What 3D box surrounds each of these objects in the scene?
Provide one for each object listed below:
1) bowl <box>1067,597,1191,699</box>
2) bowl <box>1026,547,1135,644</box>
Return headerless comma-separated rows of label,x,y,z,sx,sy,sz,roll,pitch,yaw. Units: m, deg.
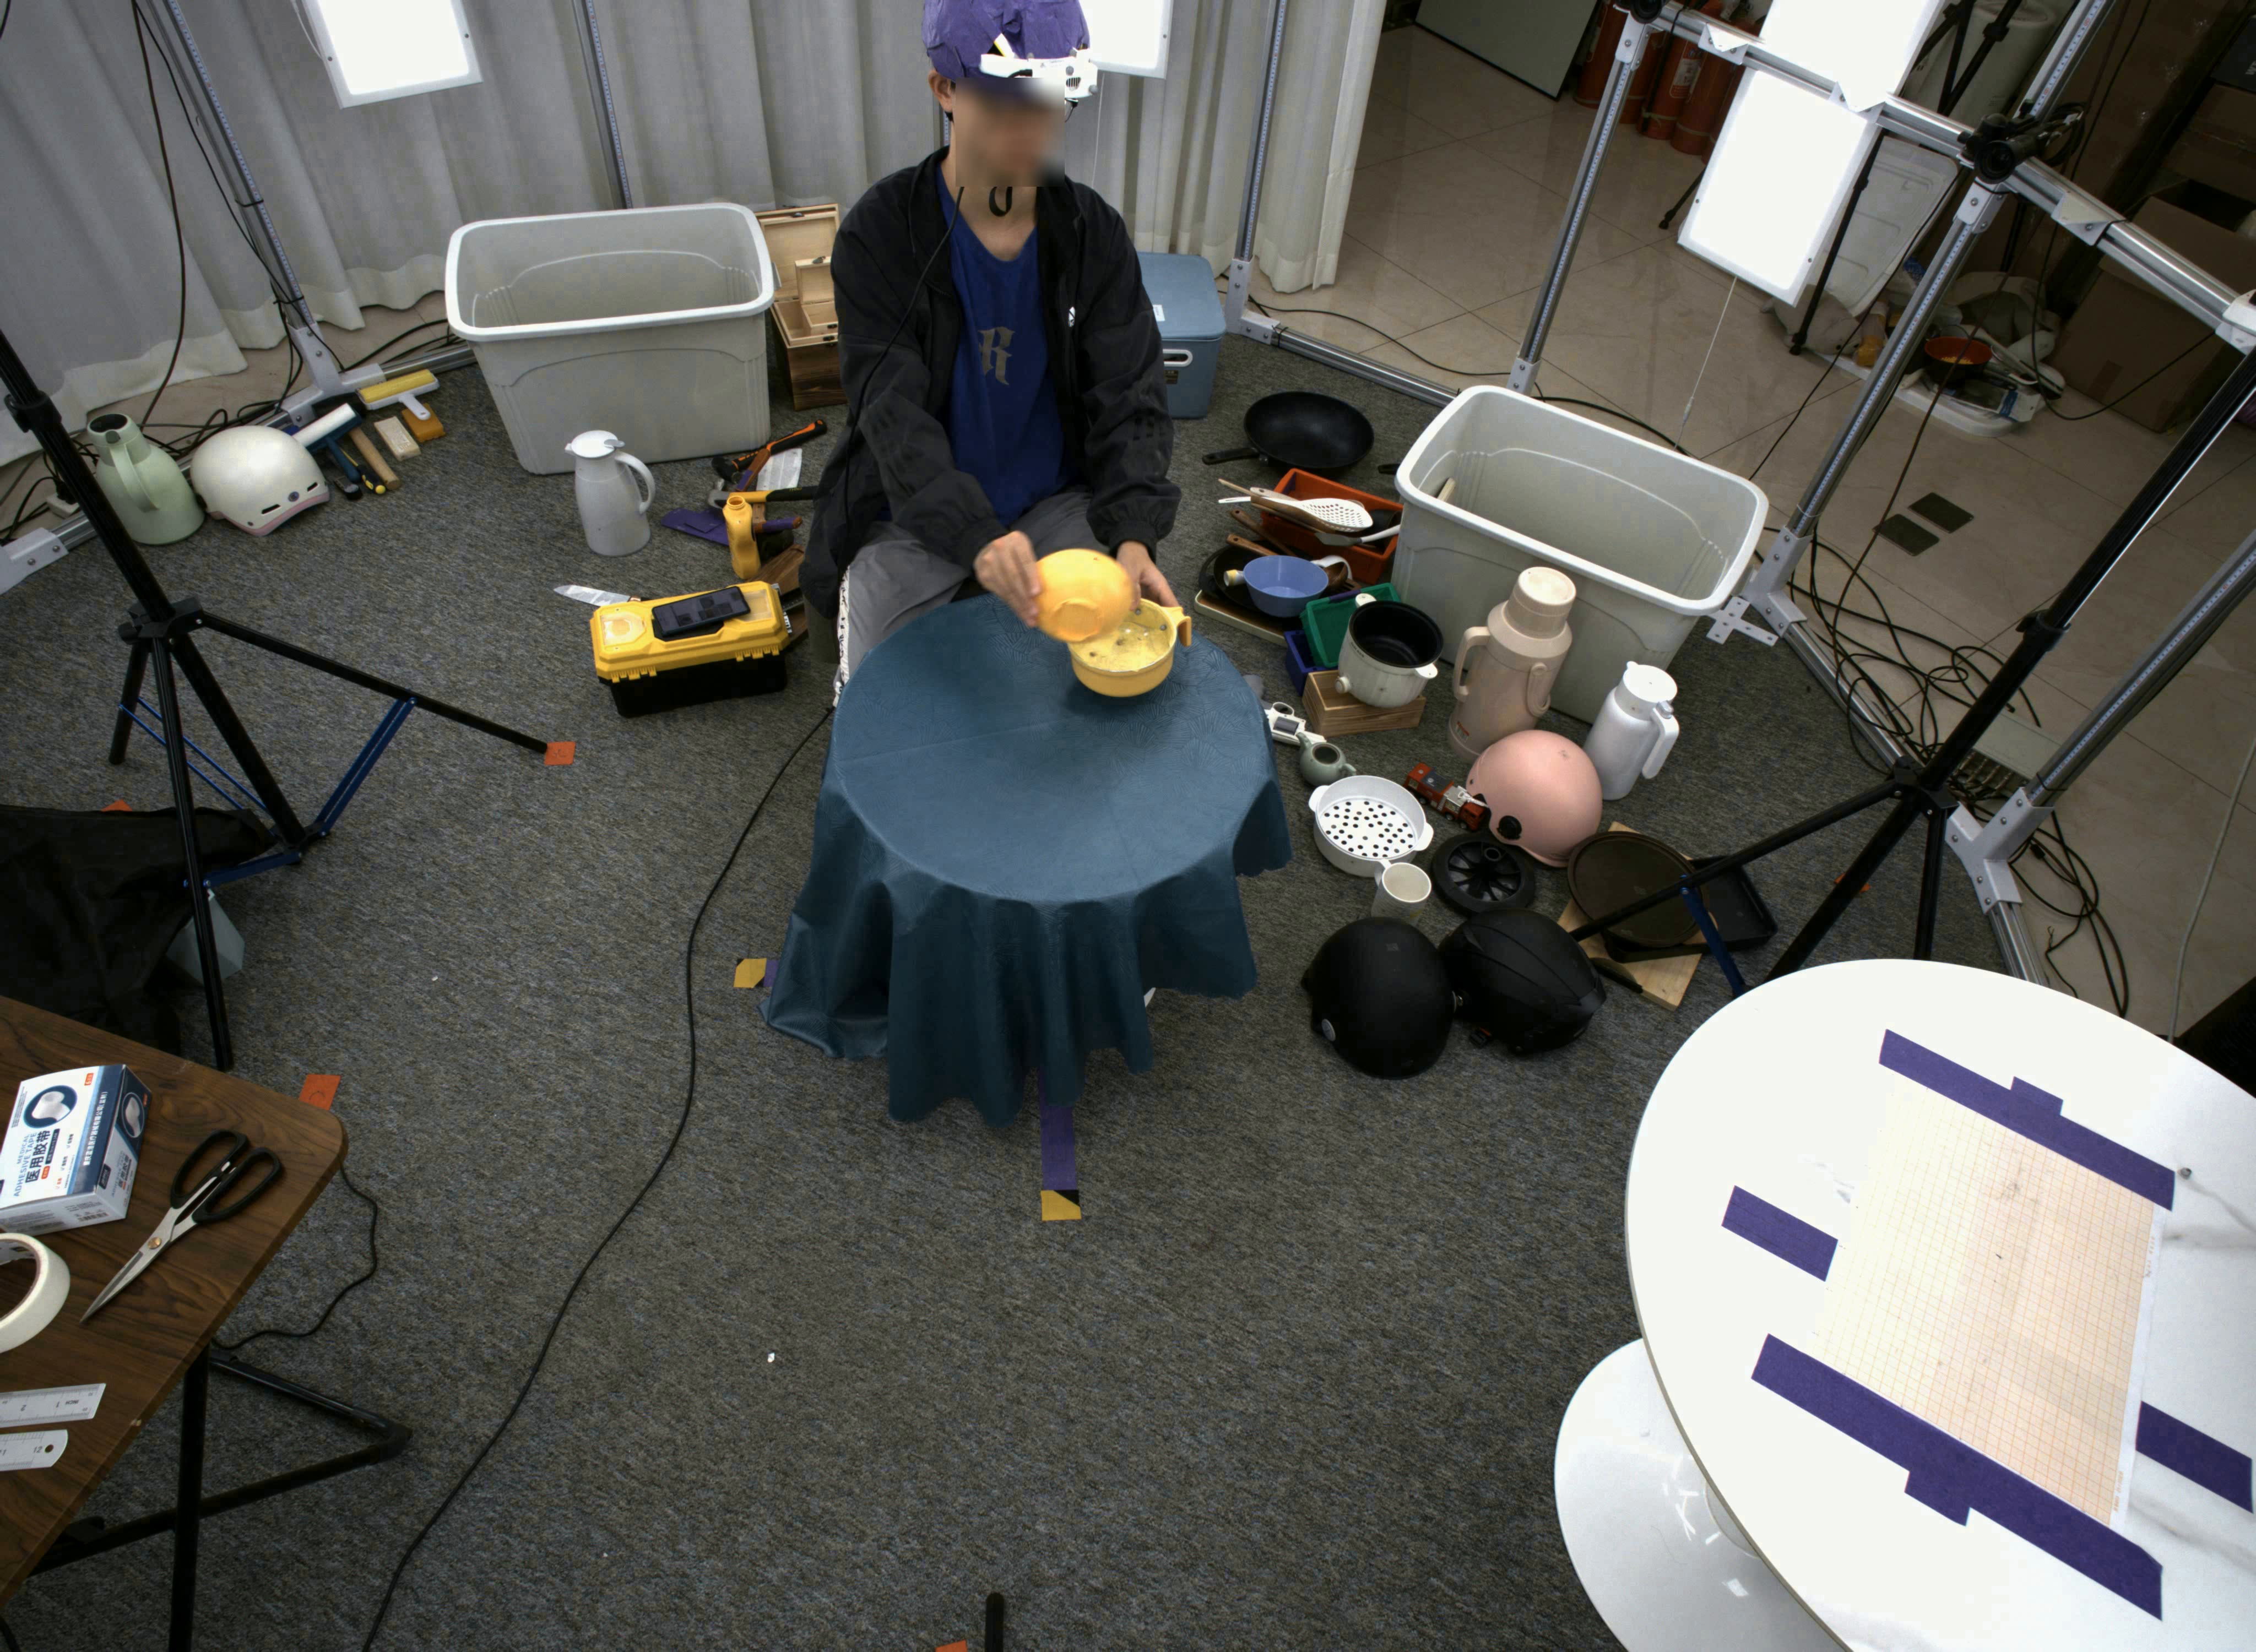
bowl,0.005,-0.250,1.799,0.180,0.072,0.156,-26,53,-16
bowl,-0.063,-0.287,1.676,0.145,0.142,0.061,3,46,-2
